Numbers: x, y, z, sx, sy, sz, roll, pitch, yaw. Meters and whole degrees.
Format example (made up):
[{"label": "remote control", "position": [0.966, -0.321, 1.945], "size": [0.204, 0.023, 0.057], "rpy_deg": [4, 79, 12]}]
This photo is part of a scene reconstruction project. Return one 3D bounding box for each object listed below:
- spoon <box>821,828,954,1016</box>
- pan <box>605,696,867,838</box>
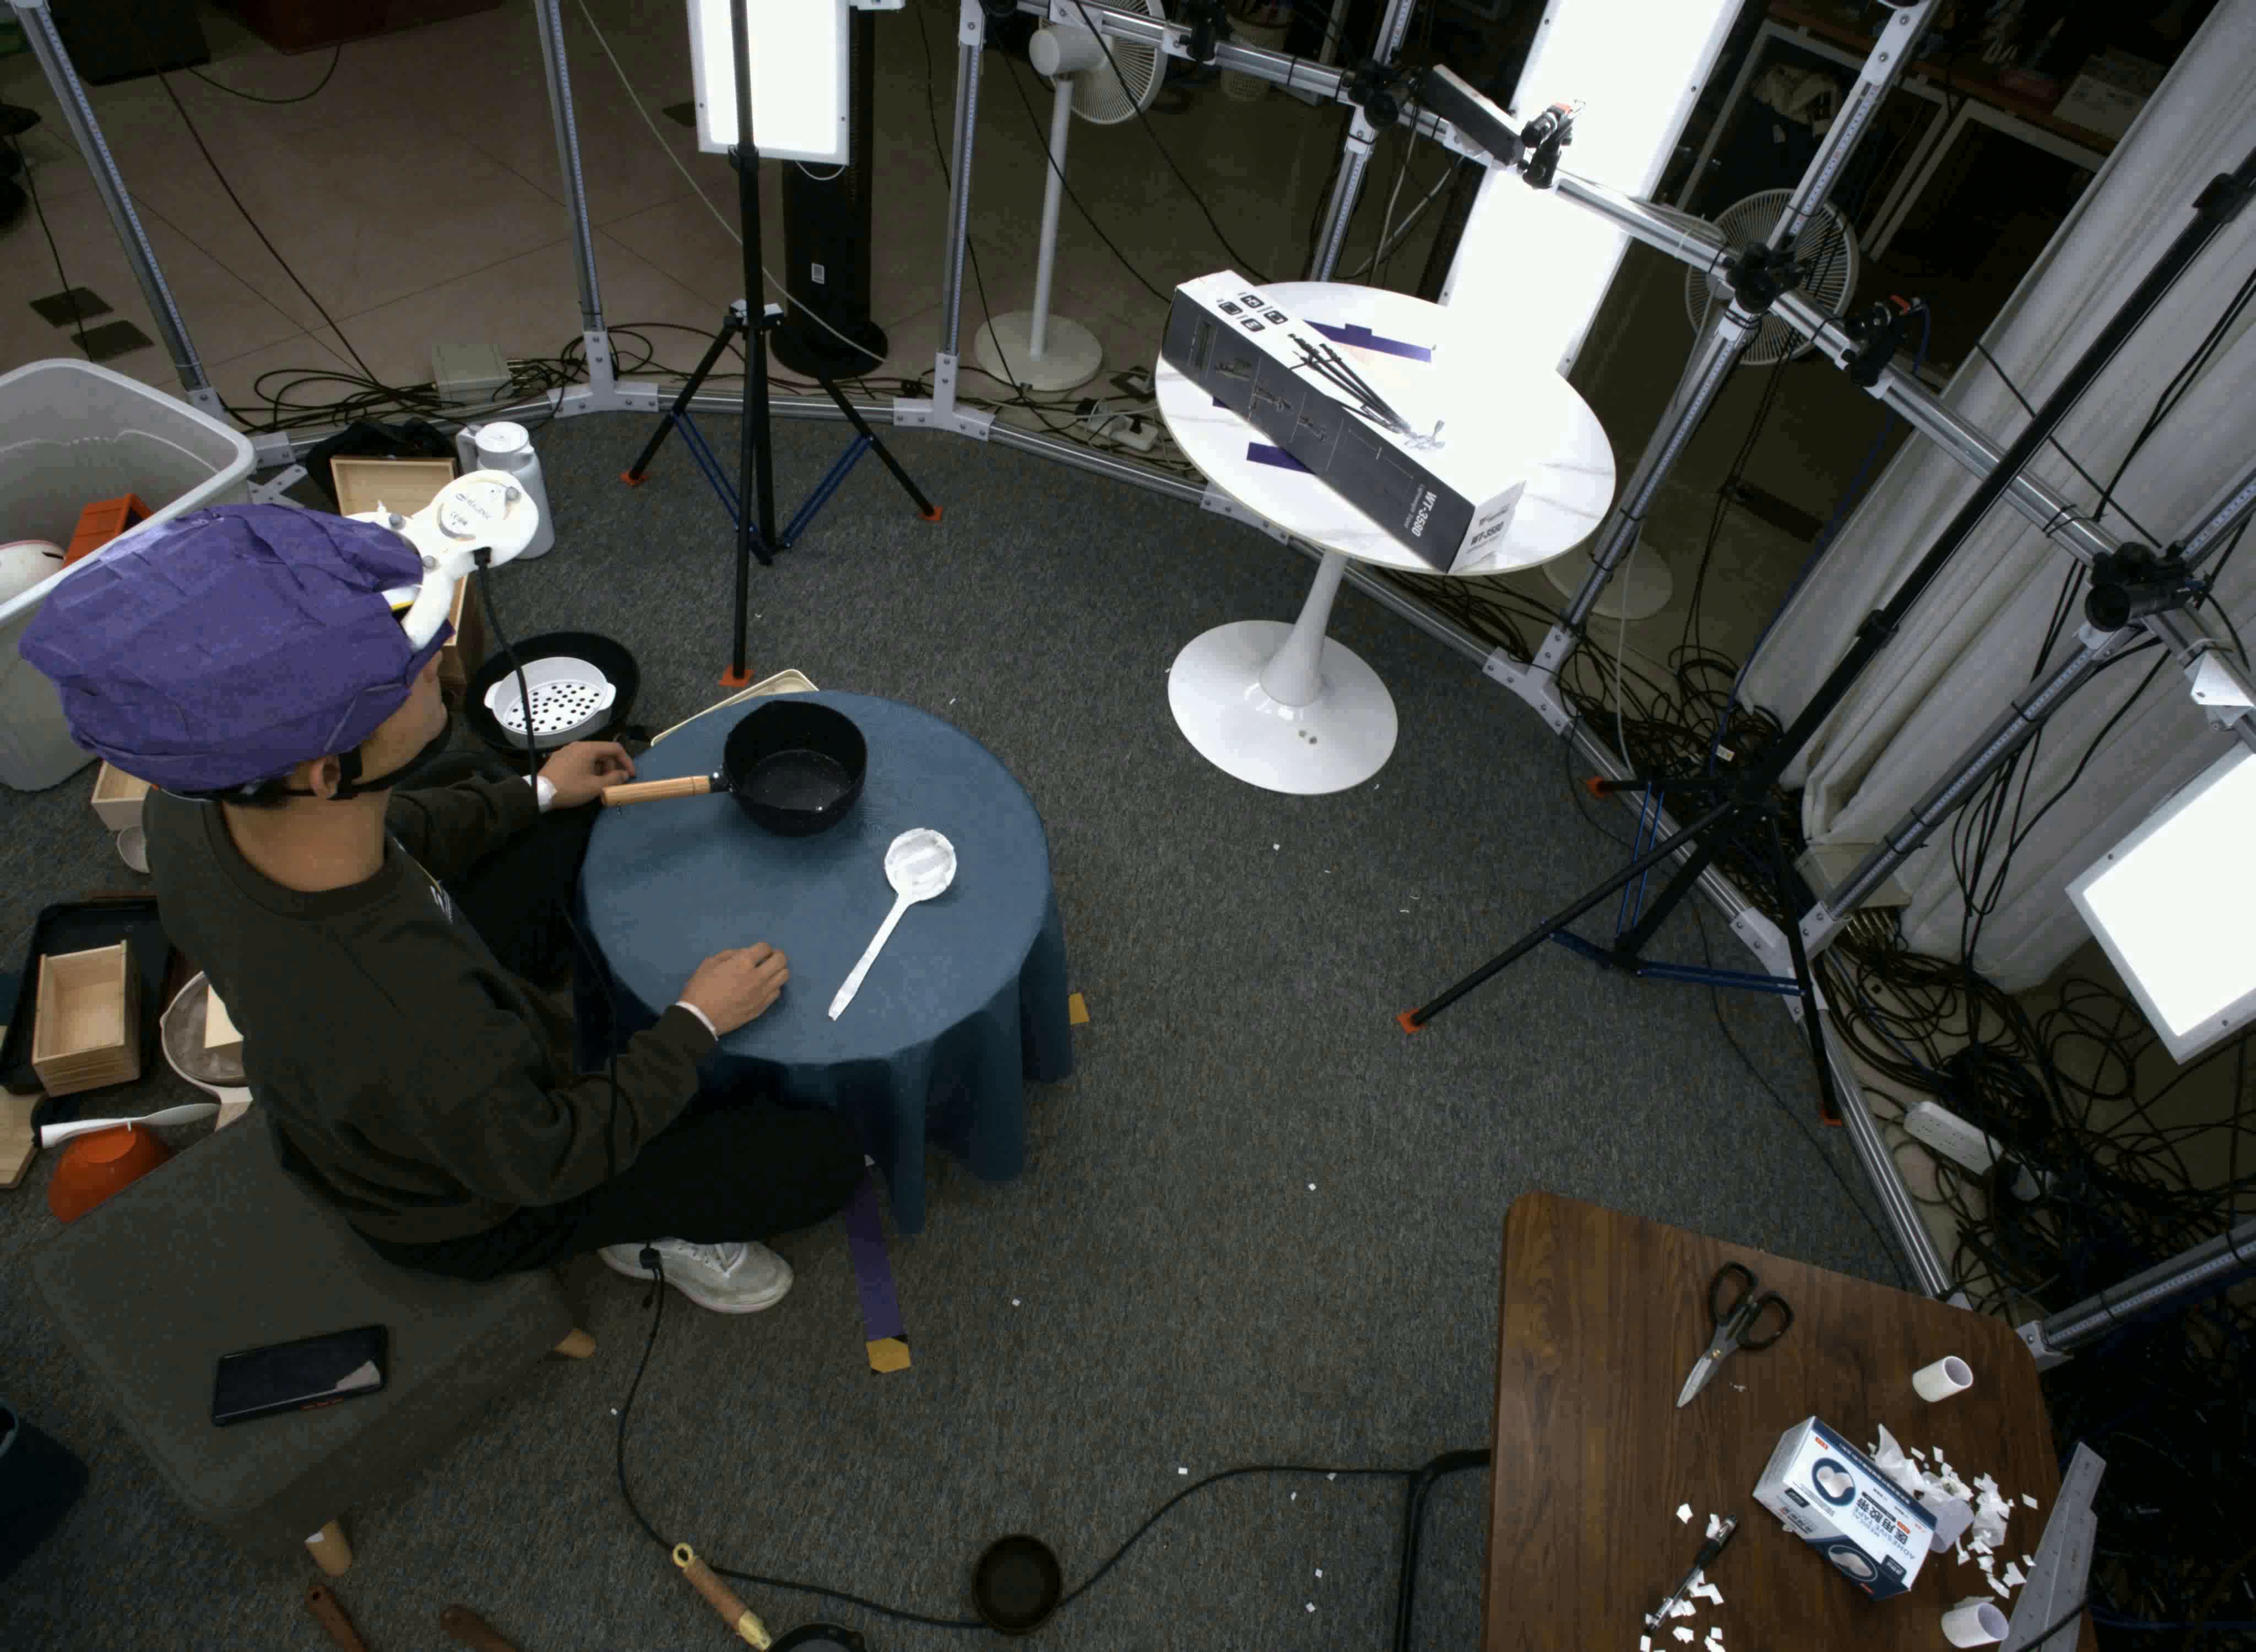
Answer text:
[{"label": "spoon", "position": [-0.315, 0.115, 1.641], "size": [0.099, 0.061, 0.275], "rpy_deg": [24, 52, 8]}, {"label": "pan", "position": [-0.509, -0.055, 1.685], "size": [0.345, 0.110, 0.202], "rpy_deg": [-18, 61, -27]}]
